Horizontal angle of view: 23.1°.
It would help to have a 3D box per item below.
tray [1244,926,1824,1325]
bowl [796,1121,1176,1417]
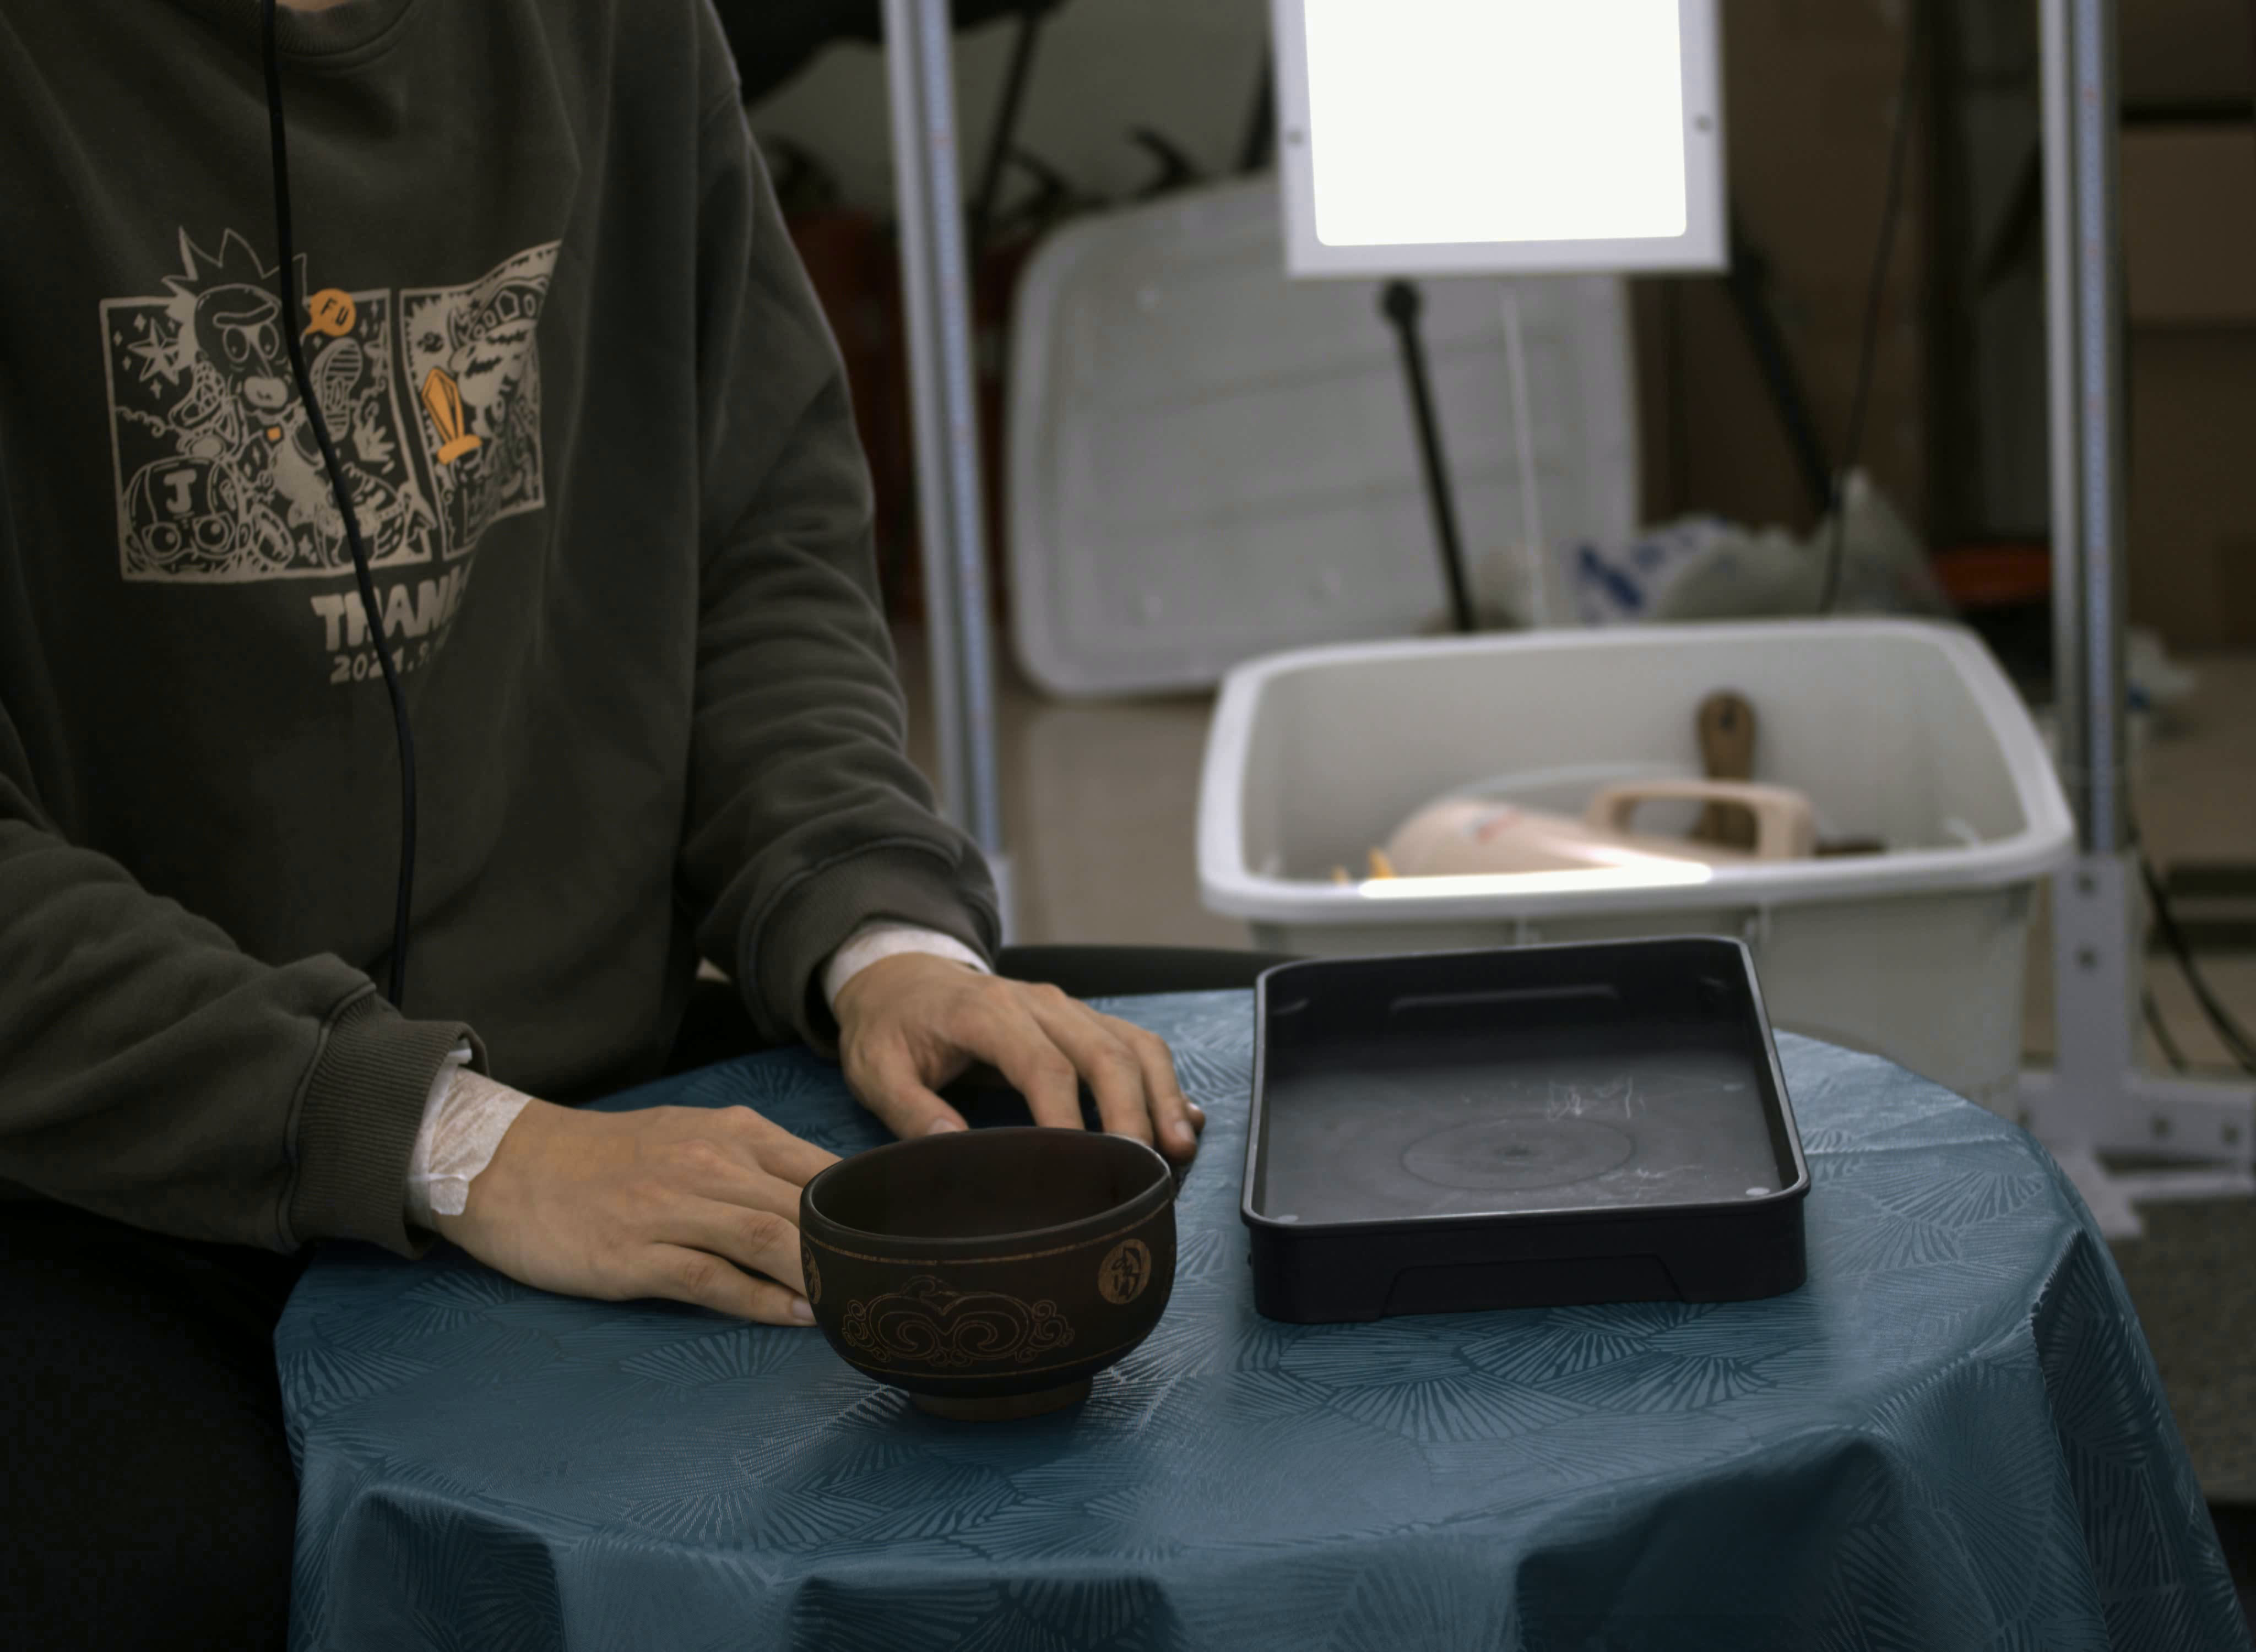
[{"bbox_3d":[0.134,0.098,1.889,0.184,0.037,0.317,-5,14,3],"label":"tray"},{"bbox_3d":[-0.042,0.141,1.704,0.118,0.070,0.118,-6,13,0],"label":"bowl"}]
